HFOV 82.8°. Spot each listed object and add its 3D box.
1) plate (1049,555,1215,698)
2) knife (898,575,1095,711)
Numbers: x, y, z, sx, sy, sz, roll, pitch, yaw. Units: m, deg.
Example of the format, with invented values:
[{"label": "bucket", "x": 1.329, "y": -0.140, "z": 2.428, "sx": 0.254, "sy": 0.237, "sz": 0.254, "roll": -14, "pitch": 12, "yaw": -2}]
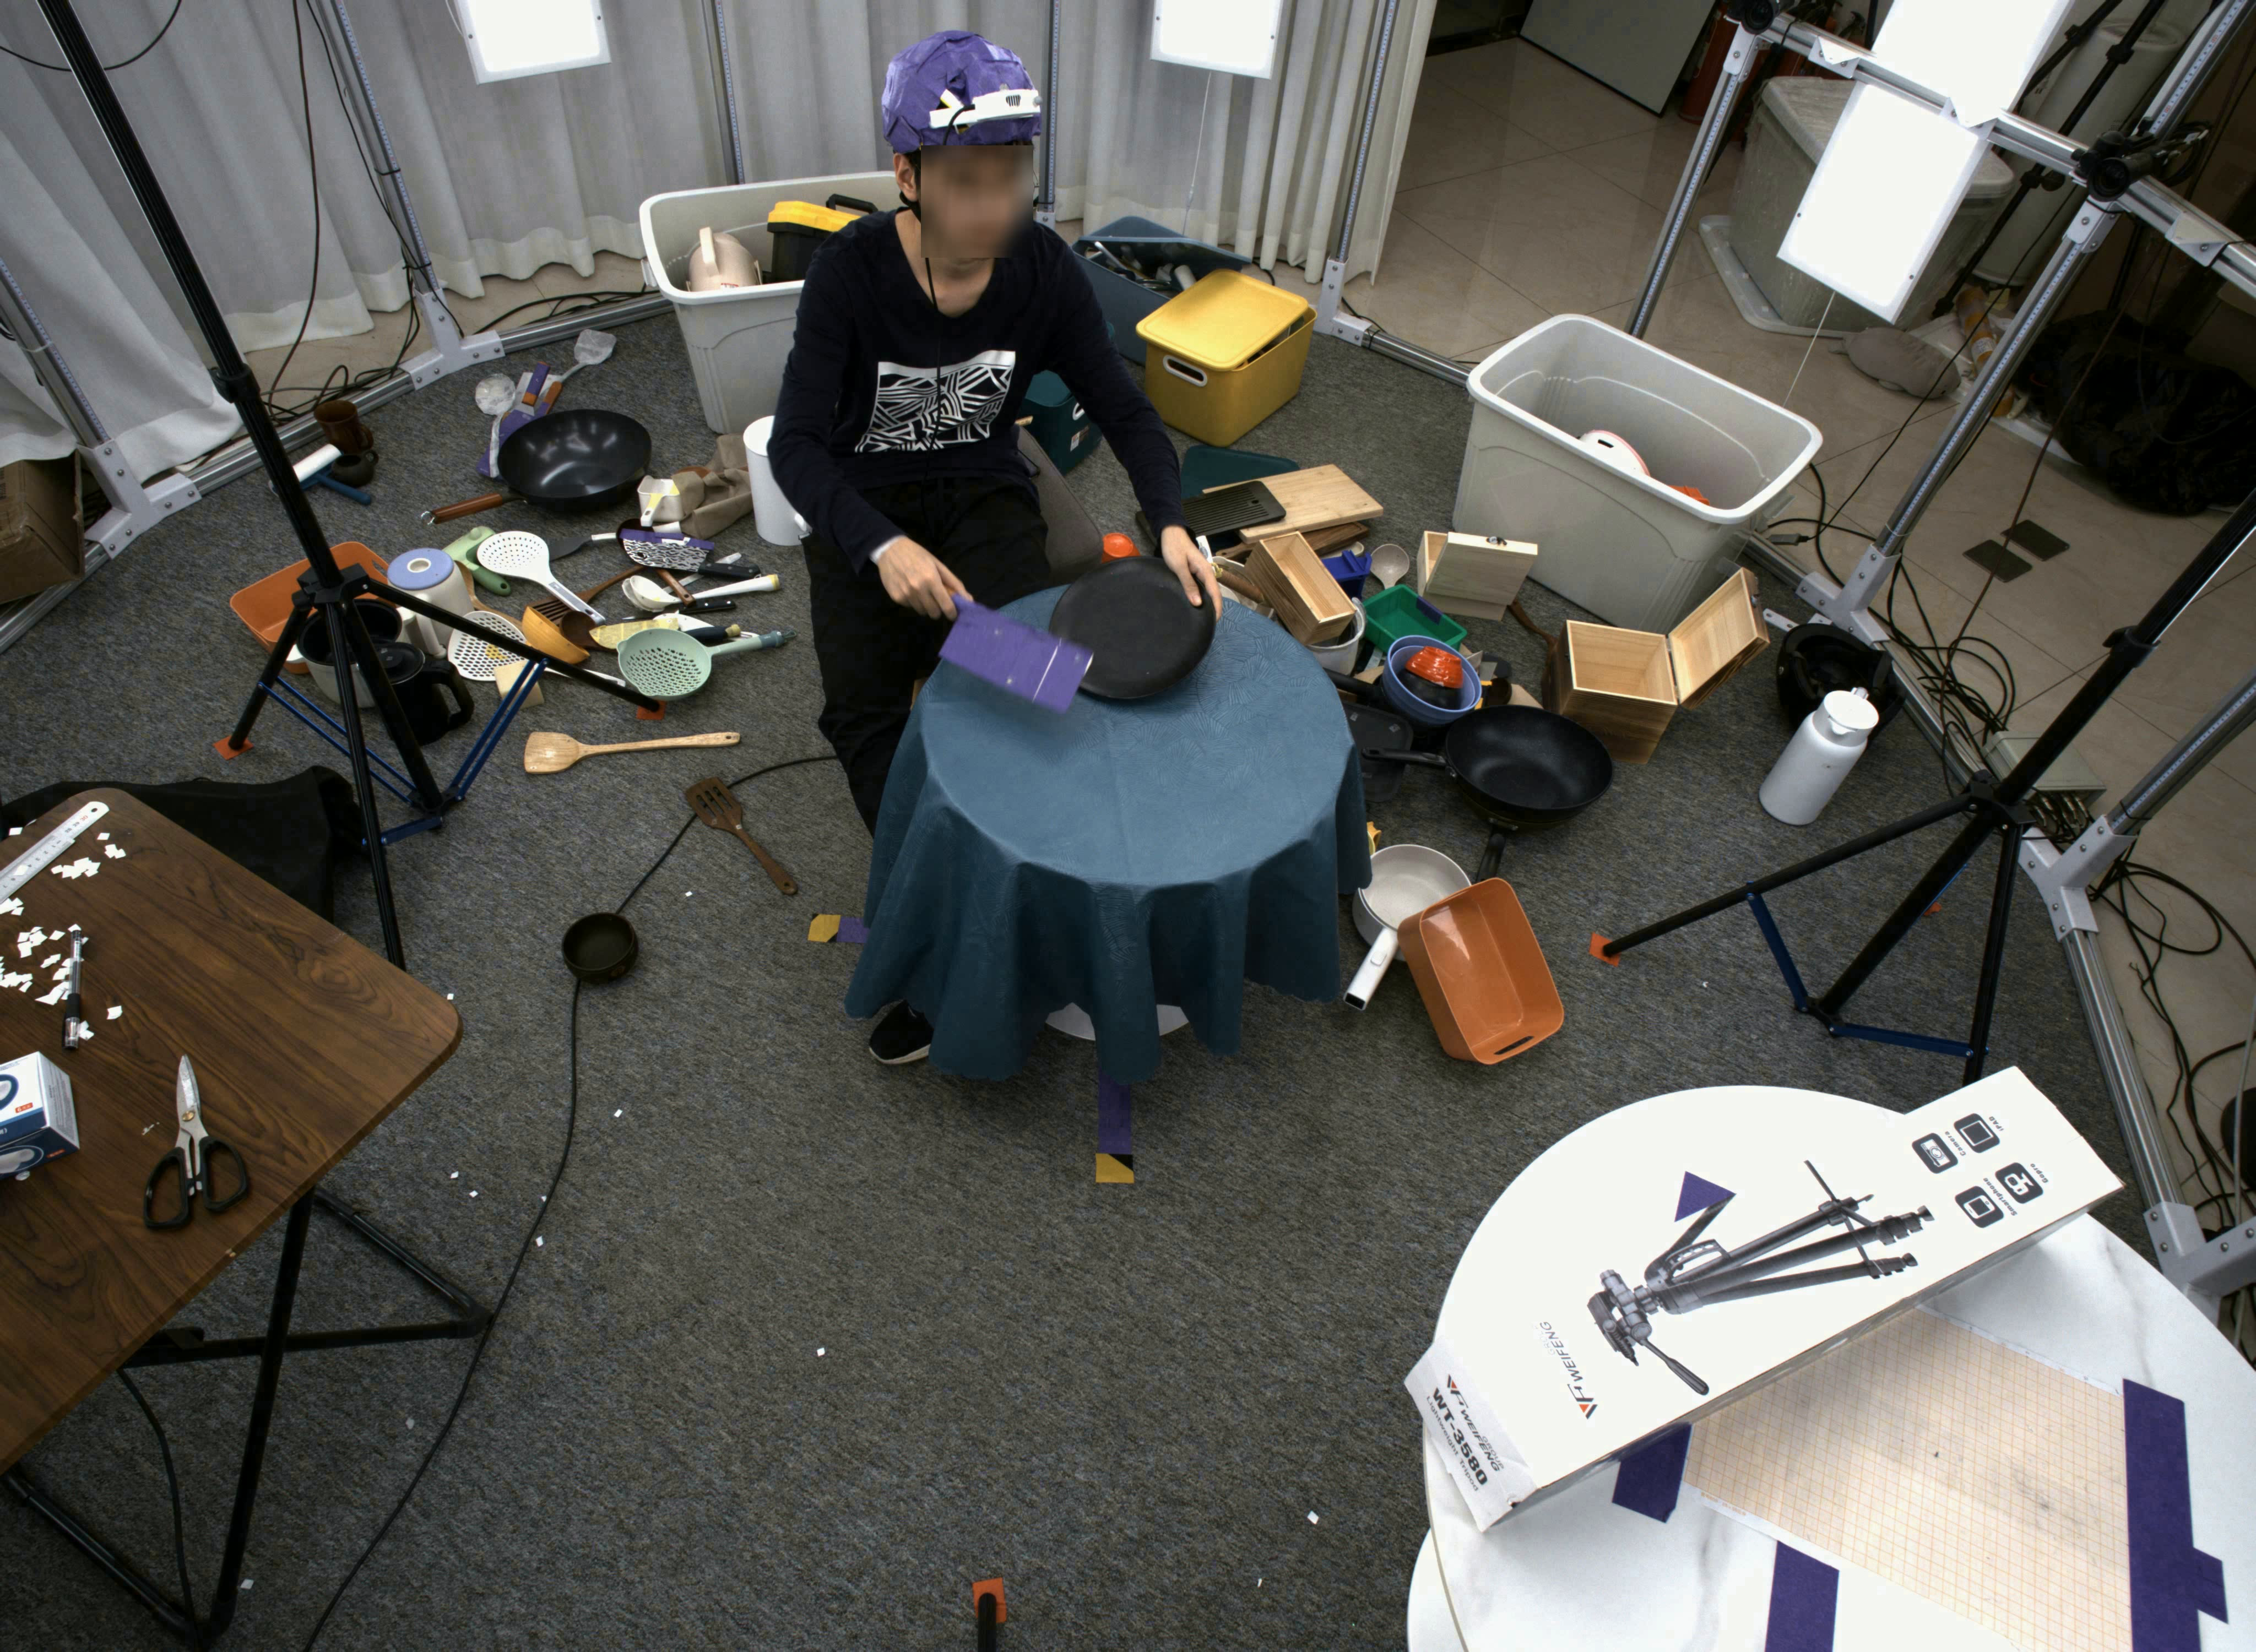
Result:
[{"label": "plate", "x": 0.007, "y": -0.288, "z": 1.864, "sx": 0.244, "sy": 0.023, "sz": 0.249, "roll": -4, "pitch": 63, "yaw": 9}, {"label": "knife", "x": -0.198, "y": -0.251, "z": 1.768, "sx": 0.318, "sy": 0.032, "sz": 0.104, "roll": 26, "pitch": 83, "yaw": 21}]
